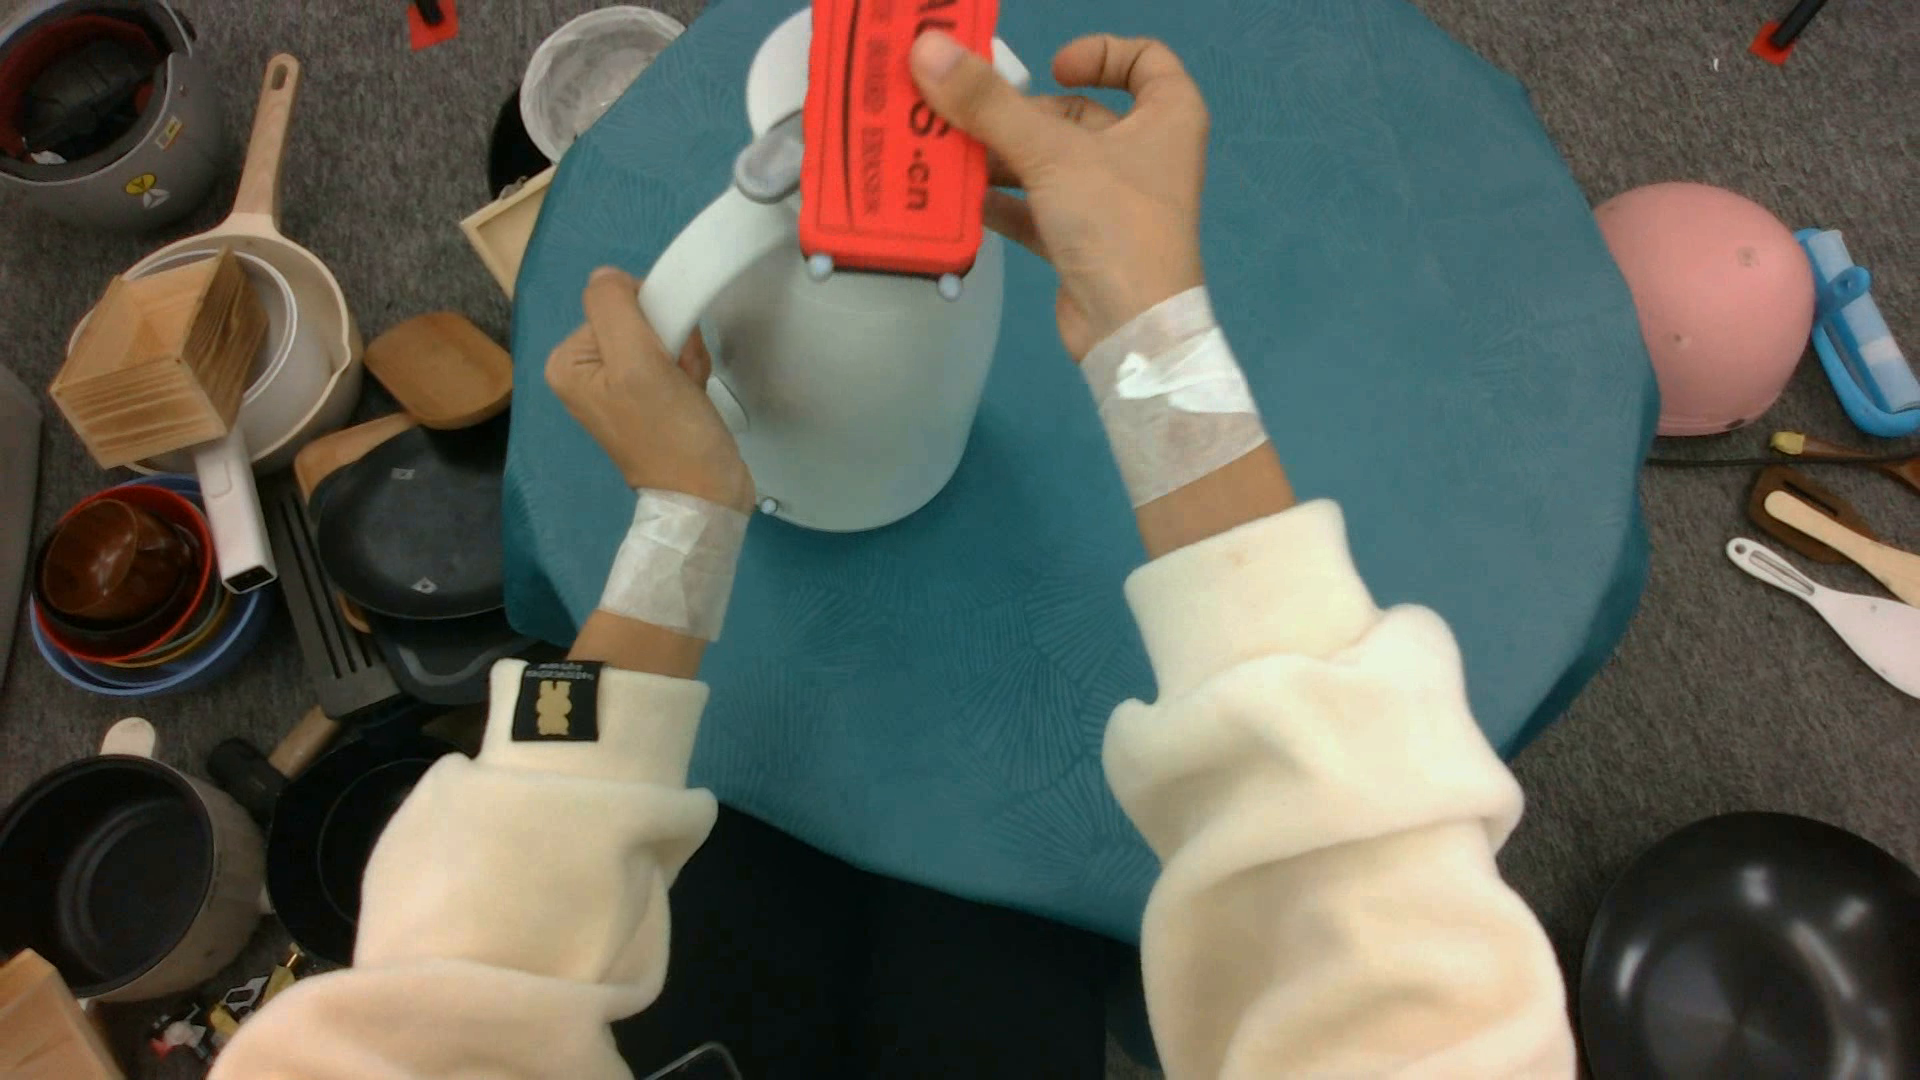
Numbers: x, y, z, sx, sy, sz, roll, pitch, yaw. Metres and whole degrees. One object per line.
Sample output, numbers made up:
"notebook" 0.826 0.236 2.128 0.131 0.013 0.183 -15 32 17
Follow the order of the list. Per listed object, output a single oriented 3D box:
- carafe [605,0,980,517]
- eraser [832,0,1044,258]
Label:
"carafe" -0.068 -0.103 0.569 0.168 0.247 0.132 -37 80 -19
"eraser" -0.006 -0.148 0.444 0.059 0.023 0.108 10 77 -7
